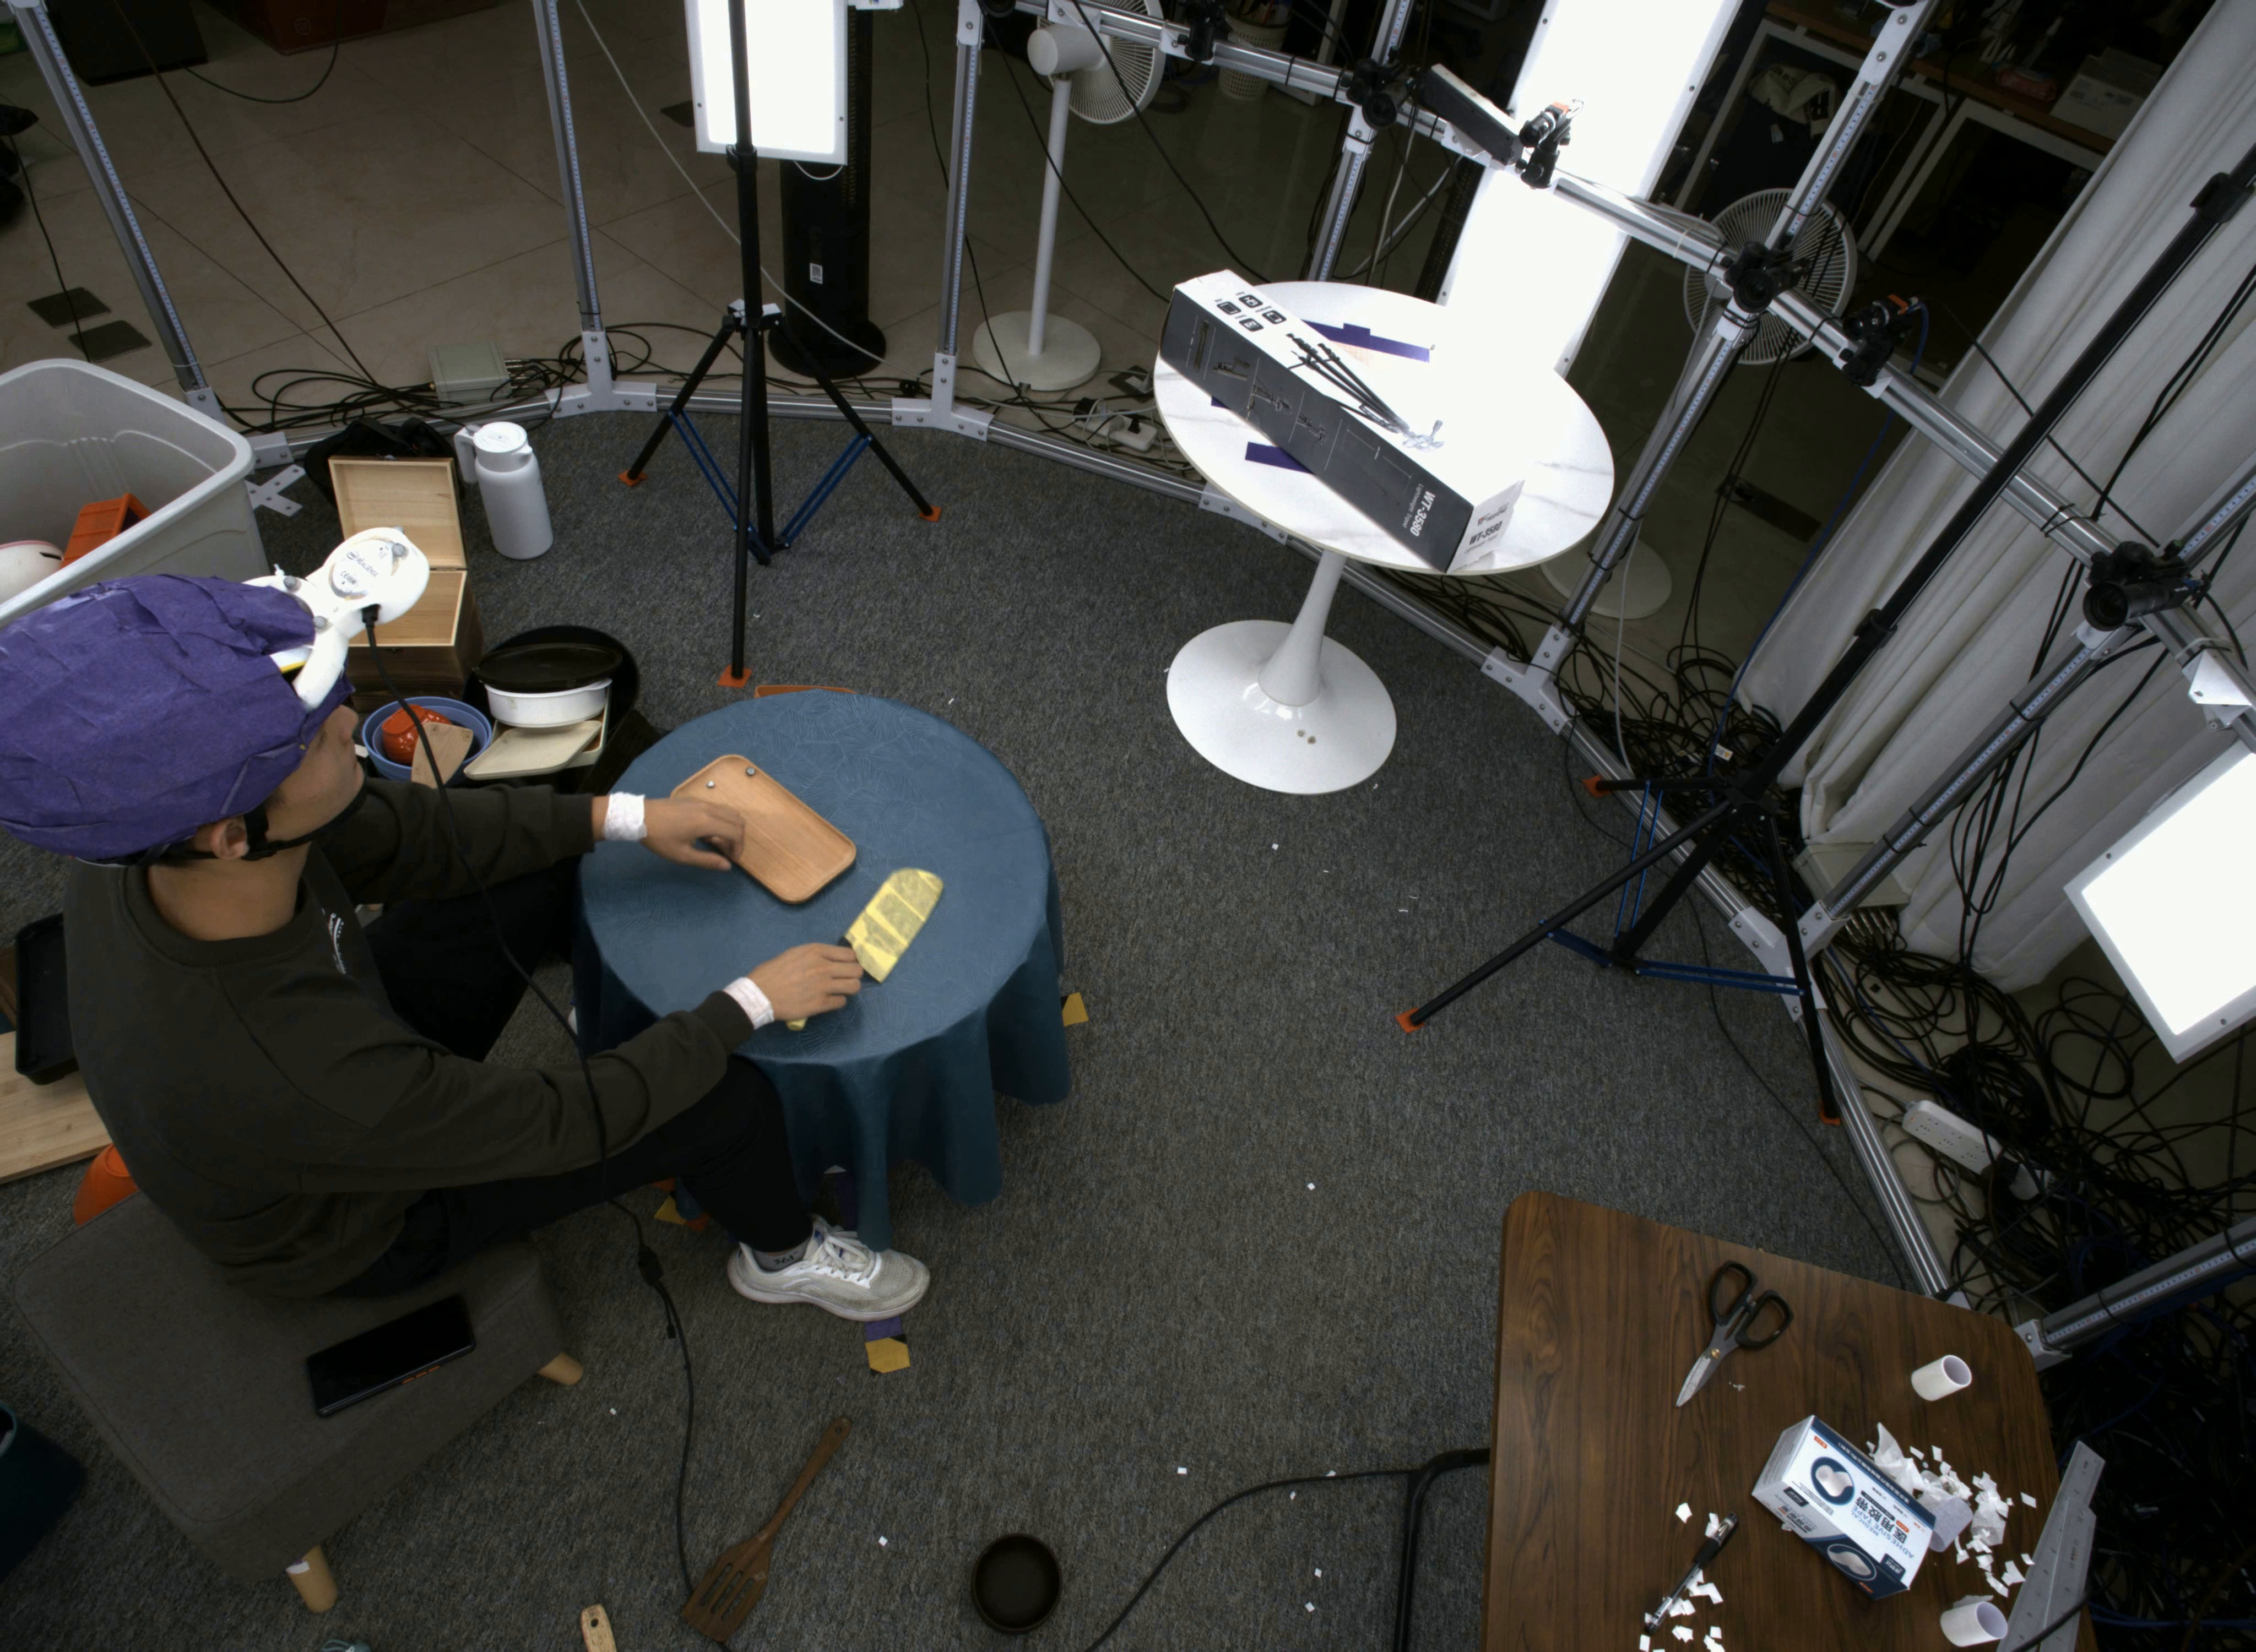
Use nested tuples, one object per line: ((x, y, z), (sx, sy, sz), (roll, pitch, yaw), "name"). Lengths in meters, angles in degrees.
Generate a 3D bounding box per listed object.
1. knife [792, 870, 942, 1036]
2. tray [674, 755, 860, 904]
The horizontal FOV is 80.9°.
((-0.320, 0.155, 1.622), (0.082, 0.027, 0.288), (45, 52, -12), "knife")
((-0.477, 0.001, 1.710), (0.246, 0.023, 0.130), (36, 57, 13), "tray")
